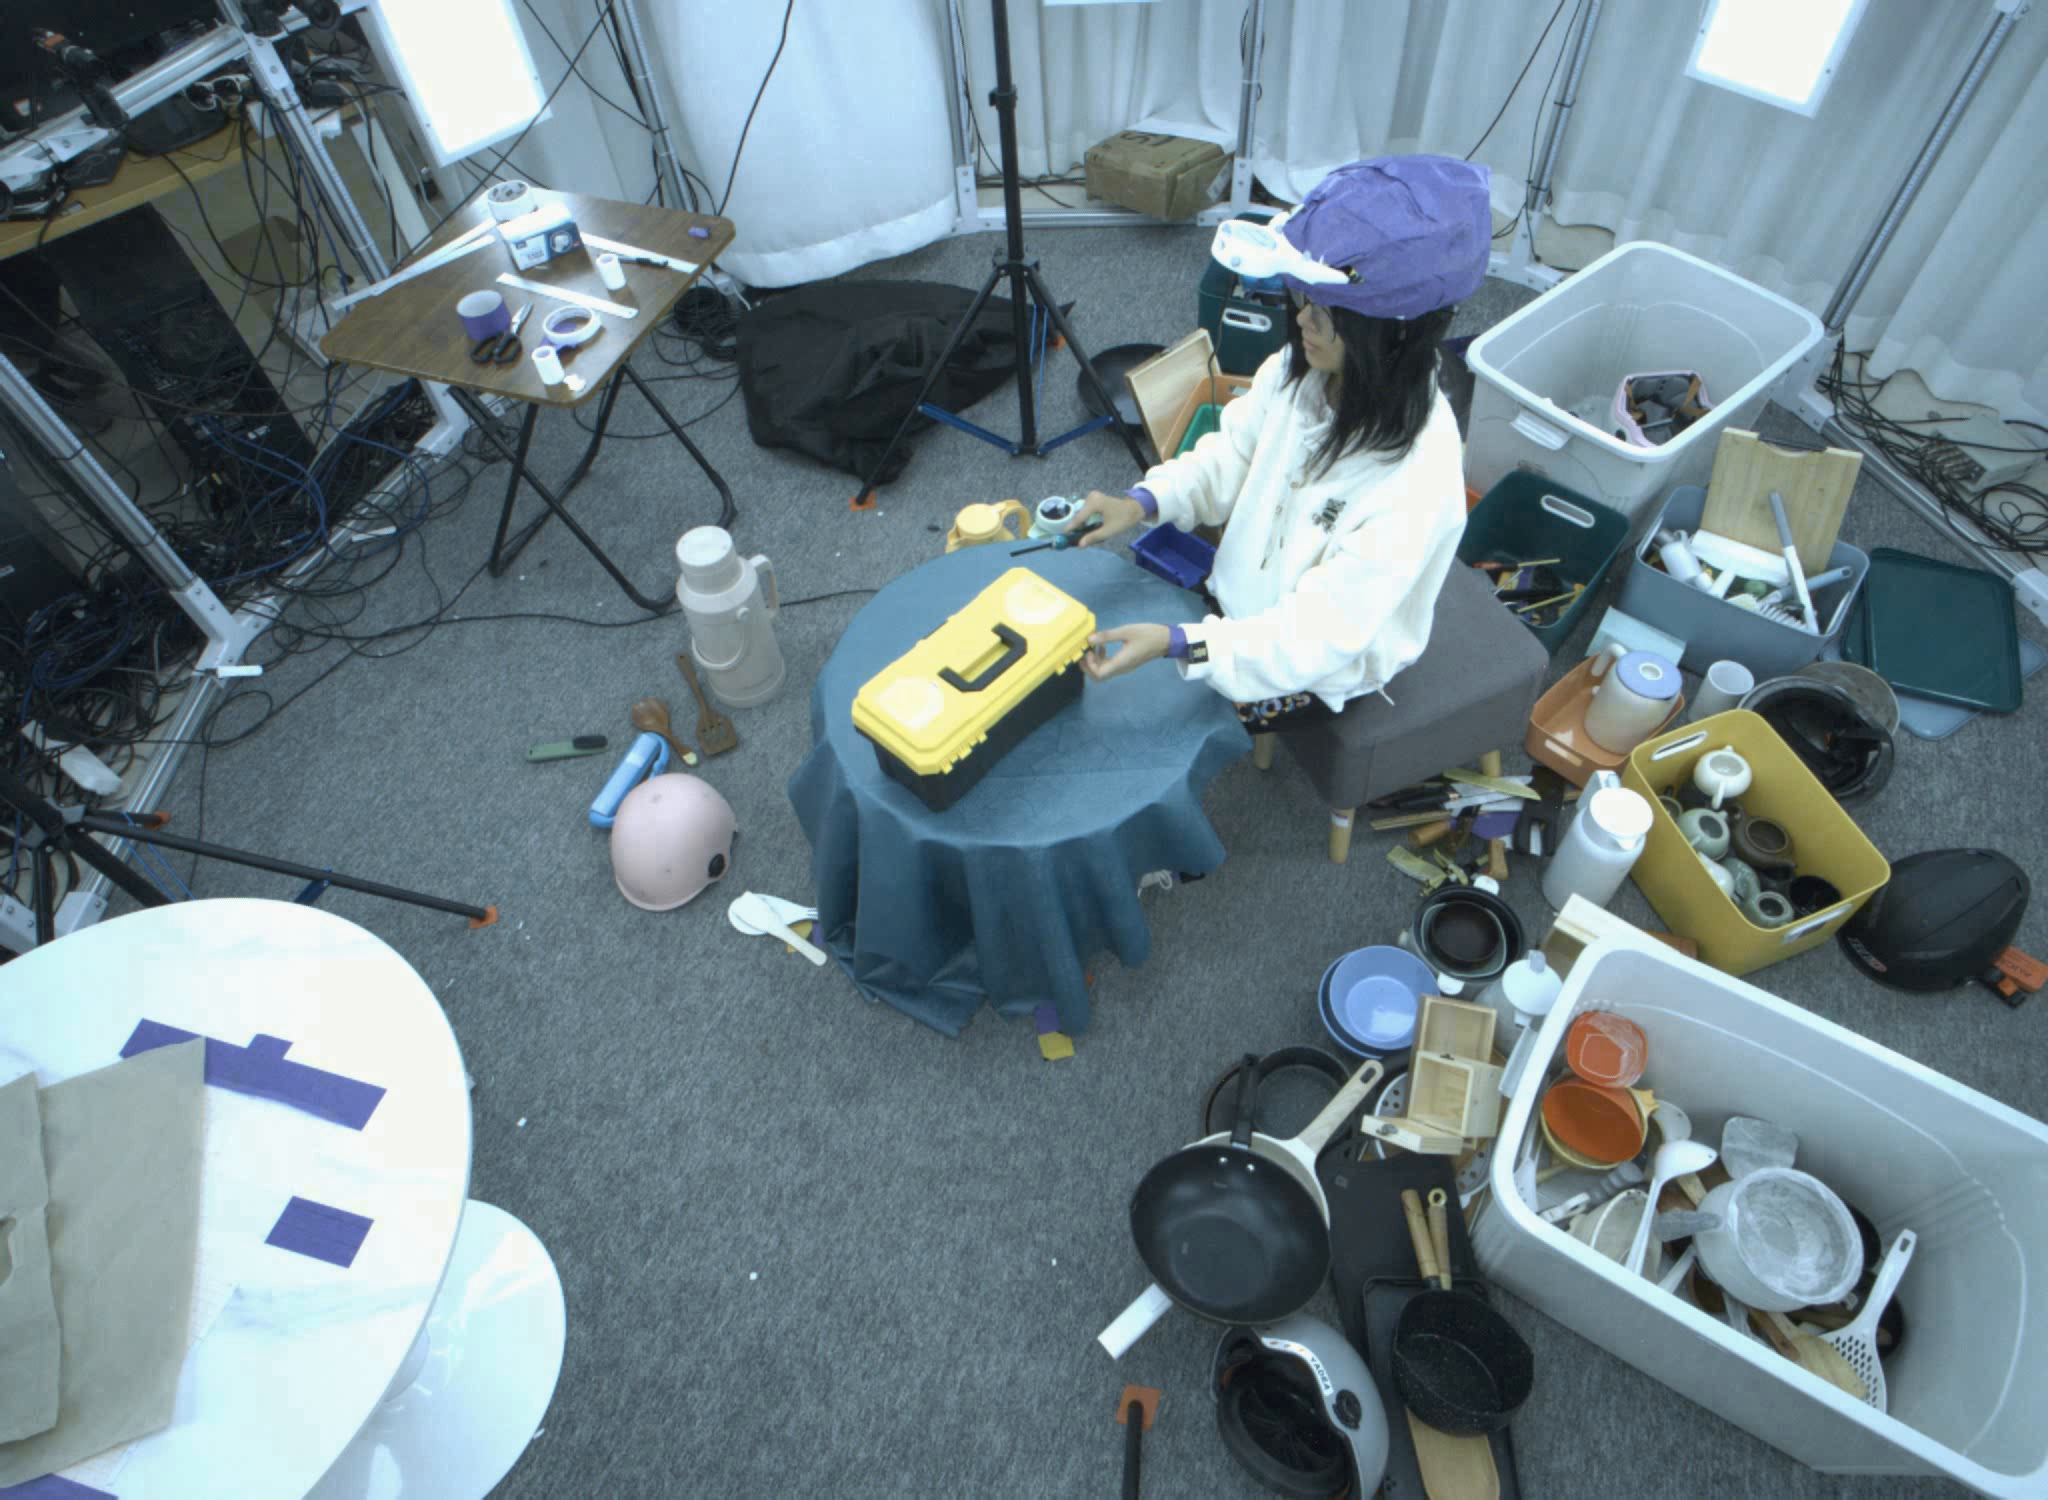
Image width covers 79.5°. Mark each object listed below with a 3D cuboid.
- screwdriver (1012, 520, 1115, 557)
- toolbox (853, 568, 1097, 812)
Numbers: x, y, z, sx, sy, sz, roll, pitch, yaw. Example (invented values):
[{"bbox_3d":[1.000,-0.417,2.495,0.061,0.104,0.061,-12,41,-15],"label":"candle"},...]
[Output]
[{"bbox_3d":[0.058,-0.314,1.850,0.193,0.034,0.033,-21,55,-32],"label":"screwdriver"},{"bbox_3d":[-0.063,-0.086,1.744,0.178,0.175,0.354,37,64,25],"label":"toolbox"}]
